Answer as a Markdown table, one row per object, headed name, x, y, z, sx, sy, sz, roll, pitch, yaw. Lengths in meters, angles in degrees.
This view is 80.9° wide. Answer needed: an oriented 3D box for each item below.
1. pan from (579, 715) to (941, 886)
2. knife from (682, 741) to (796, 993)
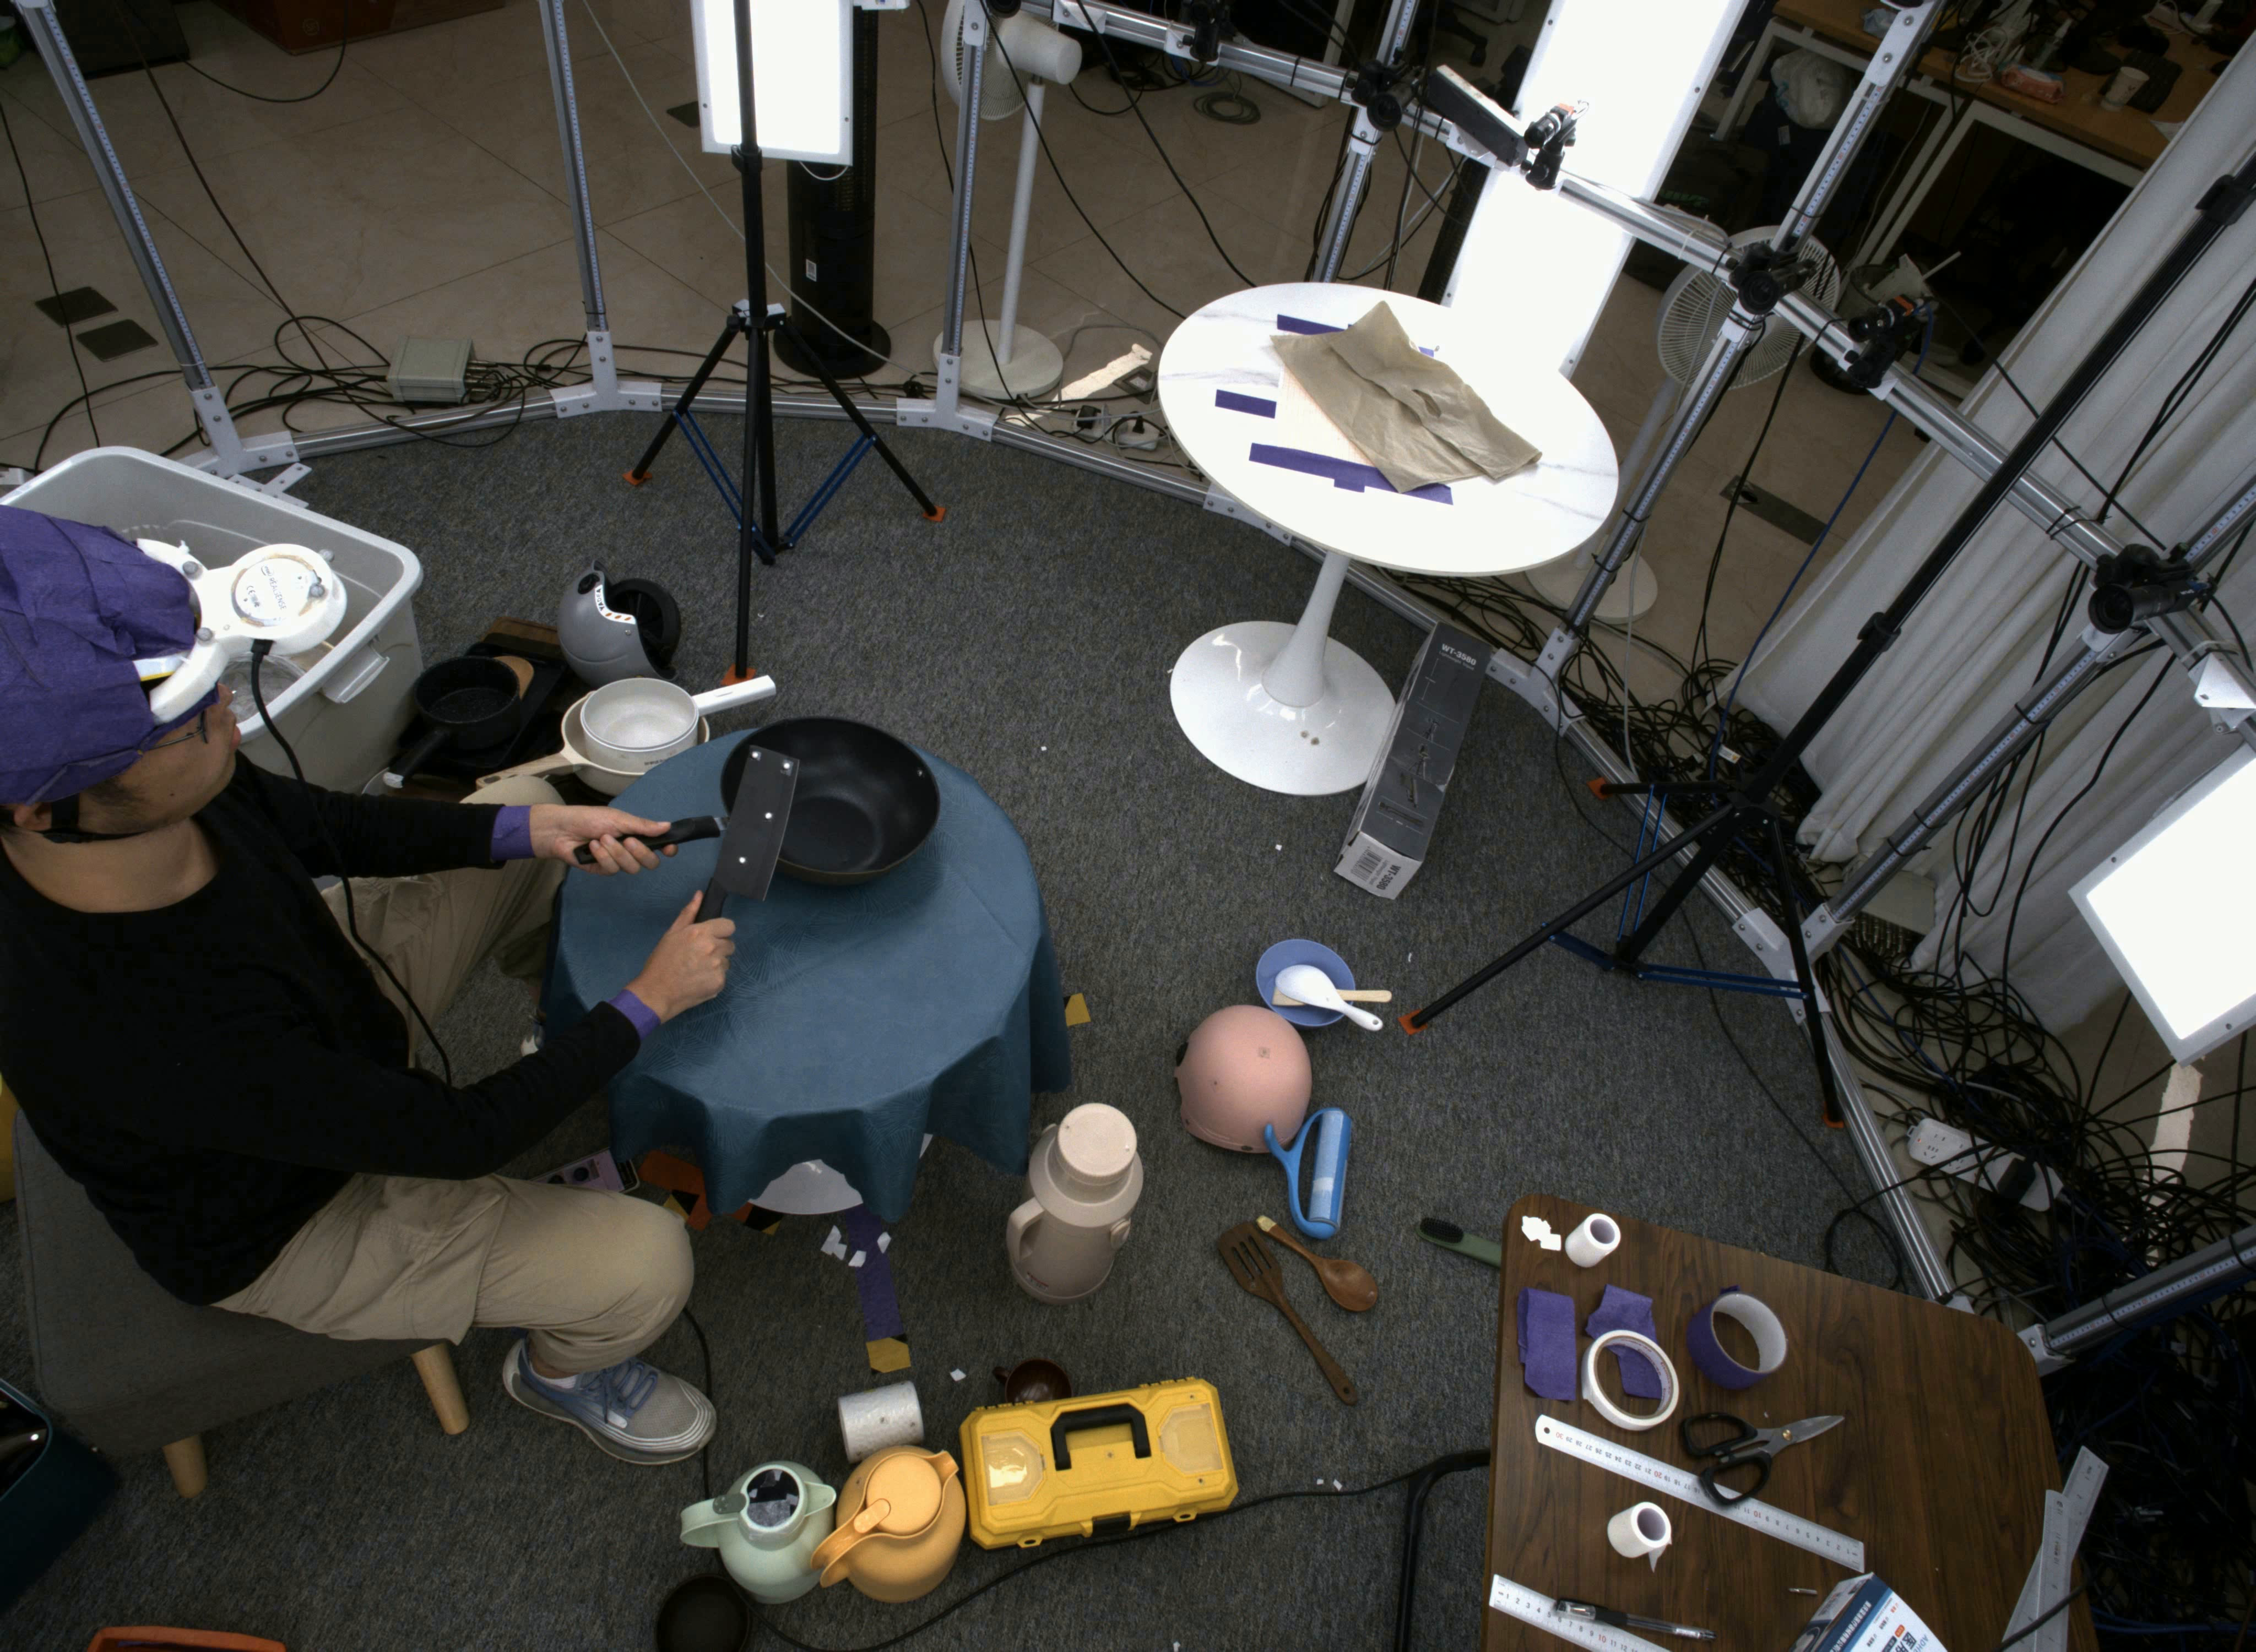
| name | x | y | z | sx | sy | sz | roll | pitch | yaw |
| --- | --- | --- | --- | --- | --- | --- | --- | --- | --- |
| pan | -0.460 | 0.001 | 1.631 | 0.467 | 0.088 | 0.280 | -17 | 56 | -34 |
| knife | -0.463 | 0.047 | 1.533 | 0.082 | 0.020 | 0.302 | 23 | 74 | -23 |
